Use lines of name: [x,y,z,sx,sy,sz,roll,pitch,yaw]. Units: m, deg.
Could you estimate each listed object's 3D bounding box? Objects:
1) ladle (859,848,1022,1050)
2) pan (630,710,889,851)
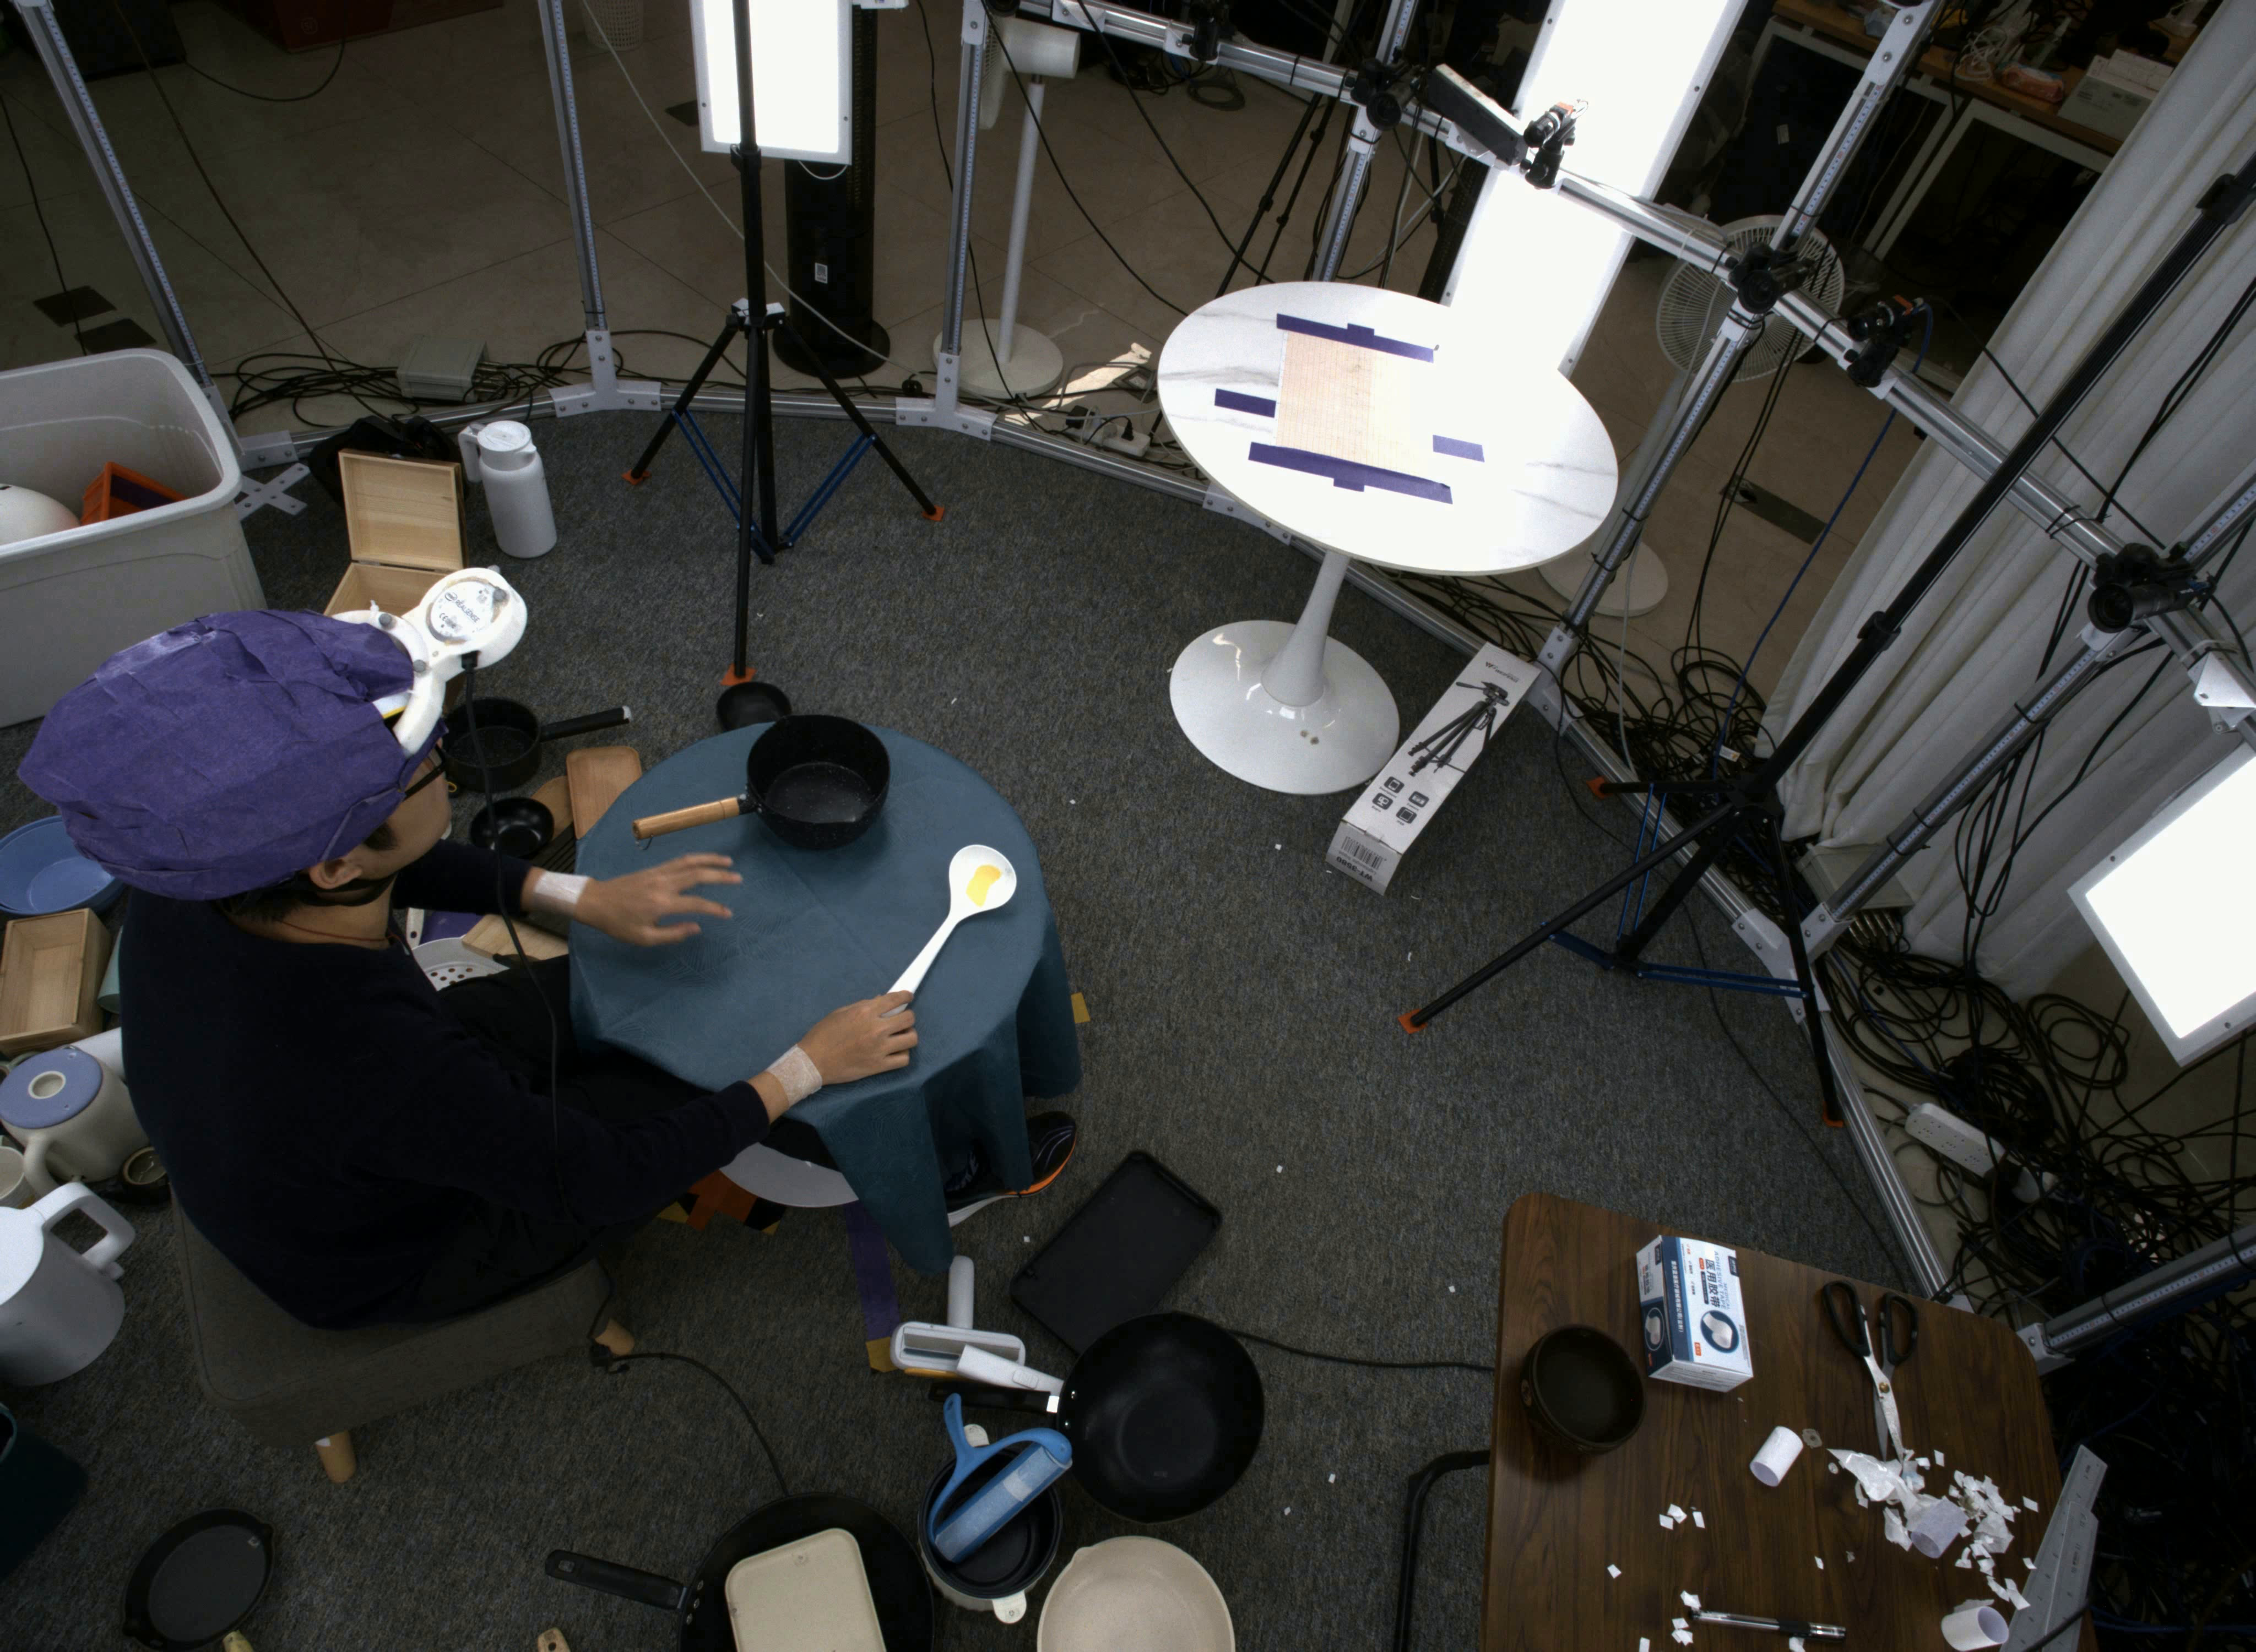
ladle: [-0.234,0.149,1.615,0.091,0.069,0.291,41,52,-9]
pan: [-0.469,-0.030,1.655,0.344,0.110,0.203,-26,64,-31]
